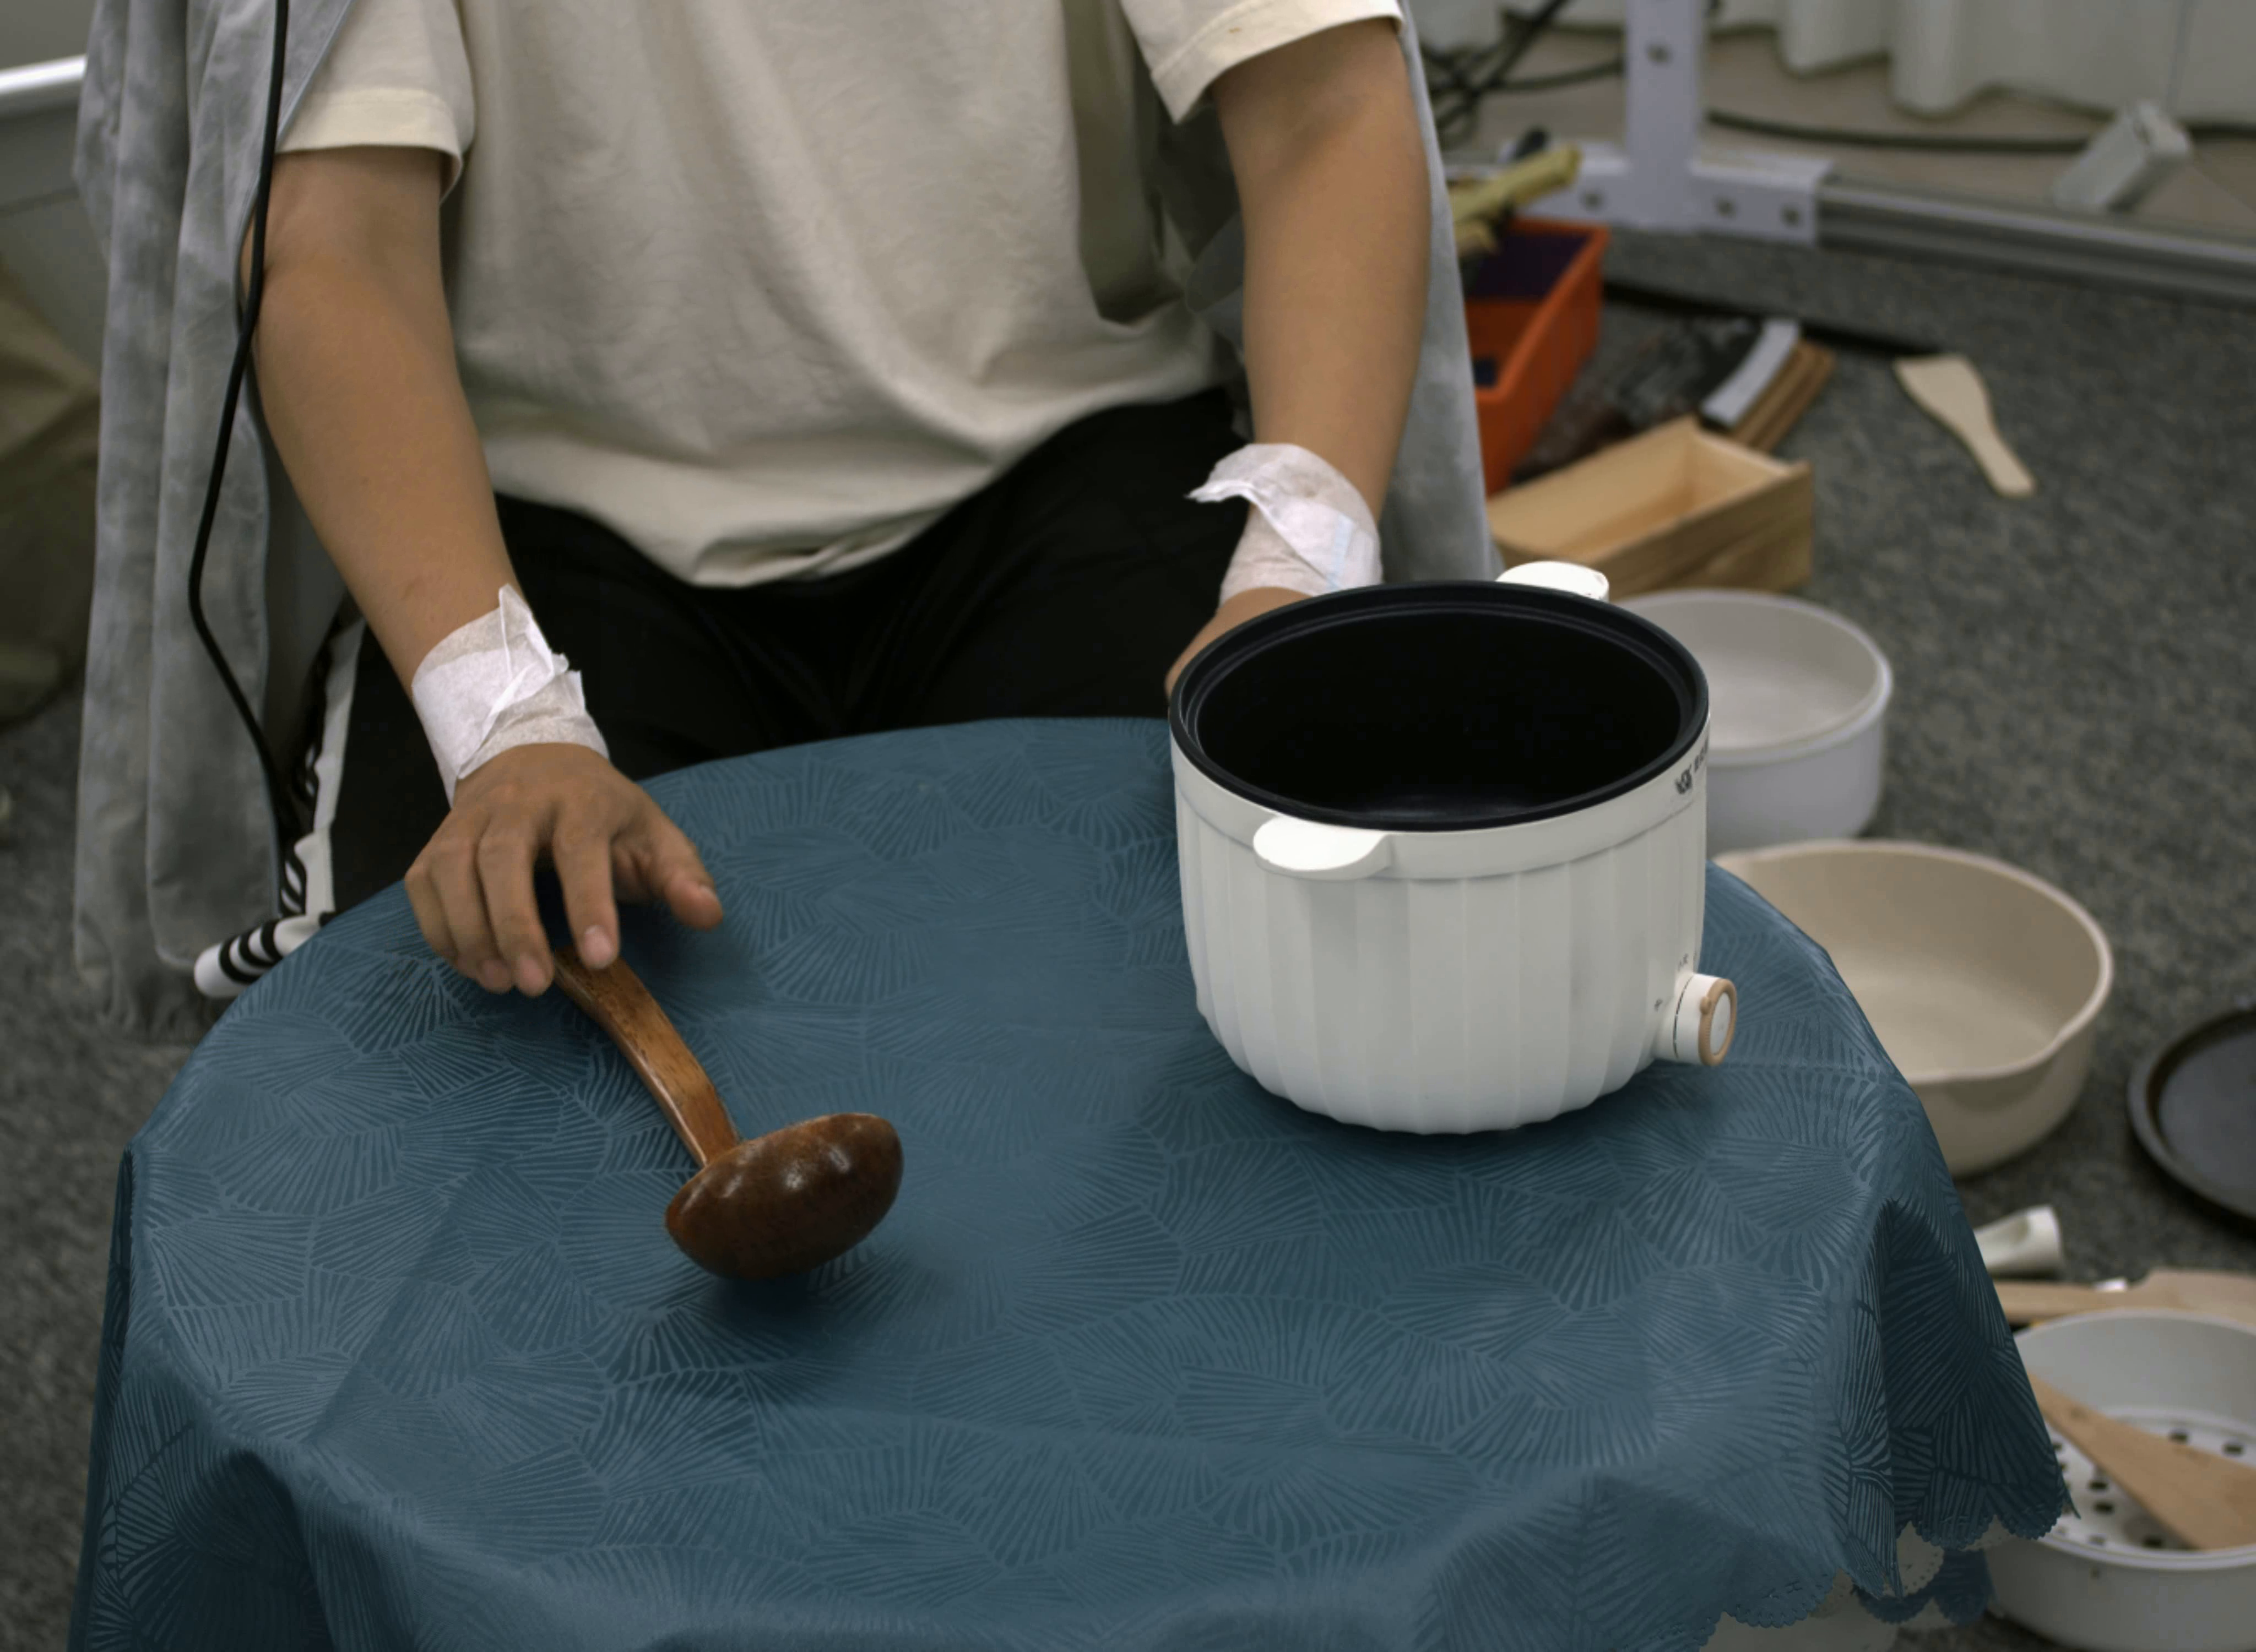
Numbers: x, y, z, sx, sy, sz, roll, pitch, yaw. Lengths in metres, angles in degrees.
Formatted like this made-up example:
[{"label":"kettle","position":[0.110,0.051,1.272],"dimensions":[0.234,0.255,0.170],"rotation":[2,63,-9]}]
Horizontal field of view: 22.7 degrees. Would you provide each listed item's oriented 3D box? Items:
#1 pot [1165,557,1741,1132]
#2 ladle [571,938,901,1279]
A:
[{"label":"pot","position":[0.112,0.014,1.907],"dimensions":[0.189,0.141,0.244],"rotation":[6,29,25]},{"label":"ladle","position":[-0.148,0.074,1.883],"dimensions":[0.082,0.076,0.276],"rotation":[-12,28,-17]}]
